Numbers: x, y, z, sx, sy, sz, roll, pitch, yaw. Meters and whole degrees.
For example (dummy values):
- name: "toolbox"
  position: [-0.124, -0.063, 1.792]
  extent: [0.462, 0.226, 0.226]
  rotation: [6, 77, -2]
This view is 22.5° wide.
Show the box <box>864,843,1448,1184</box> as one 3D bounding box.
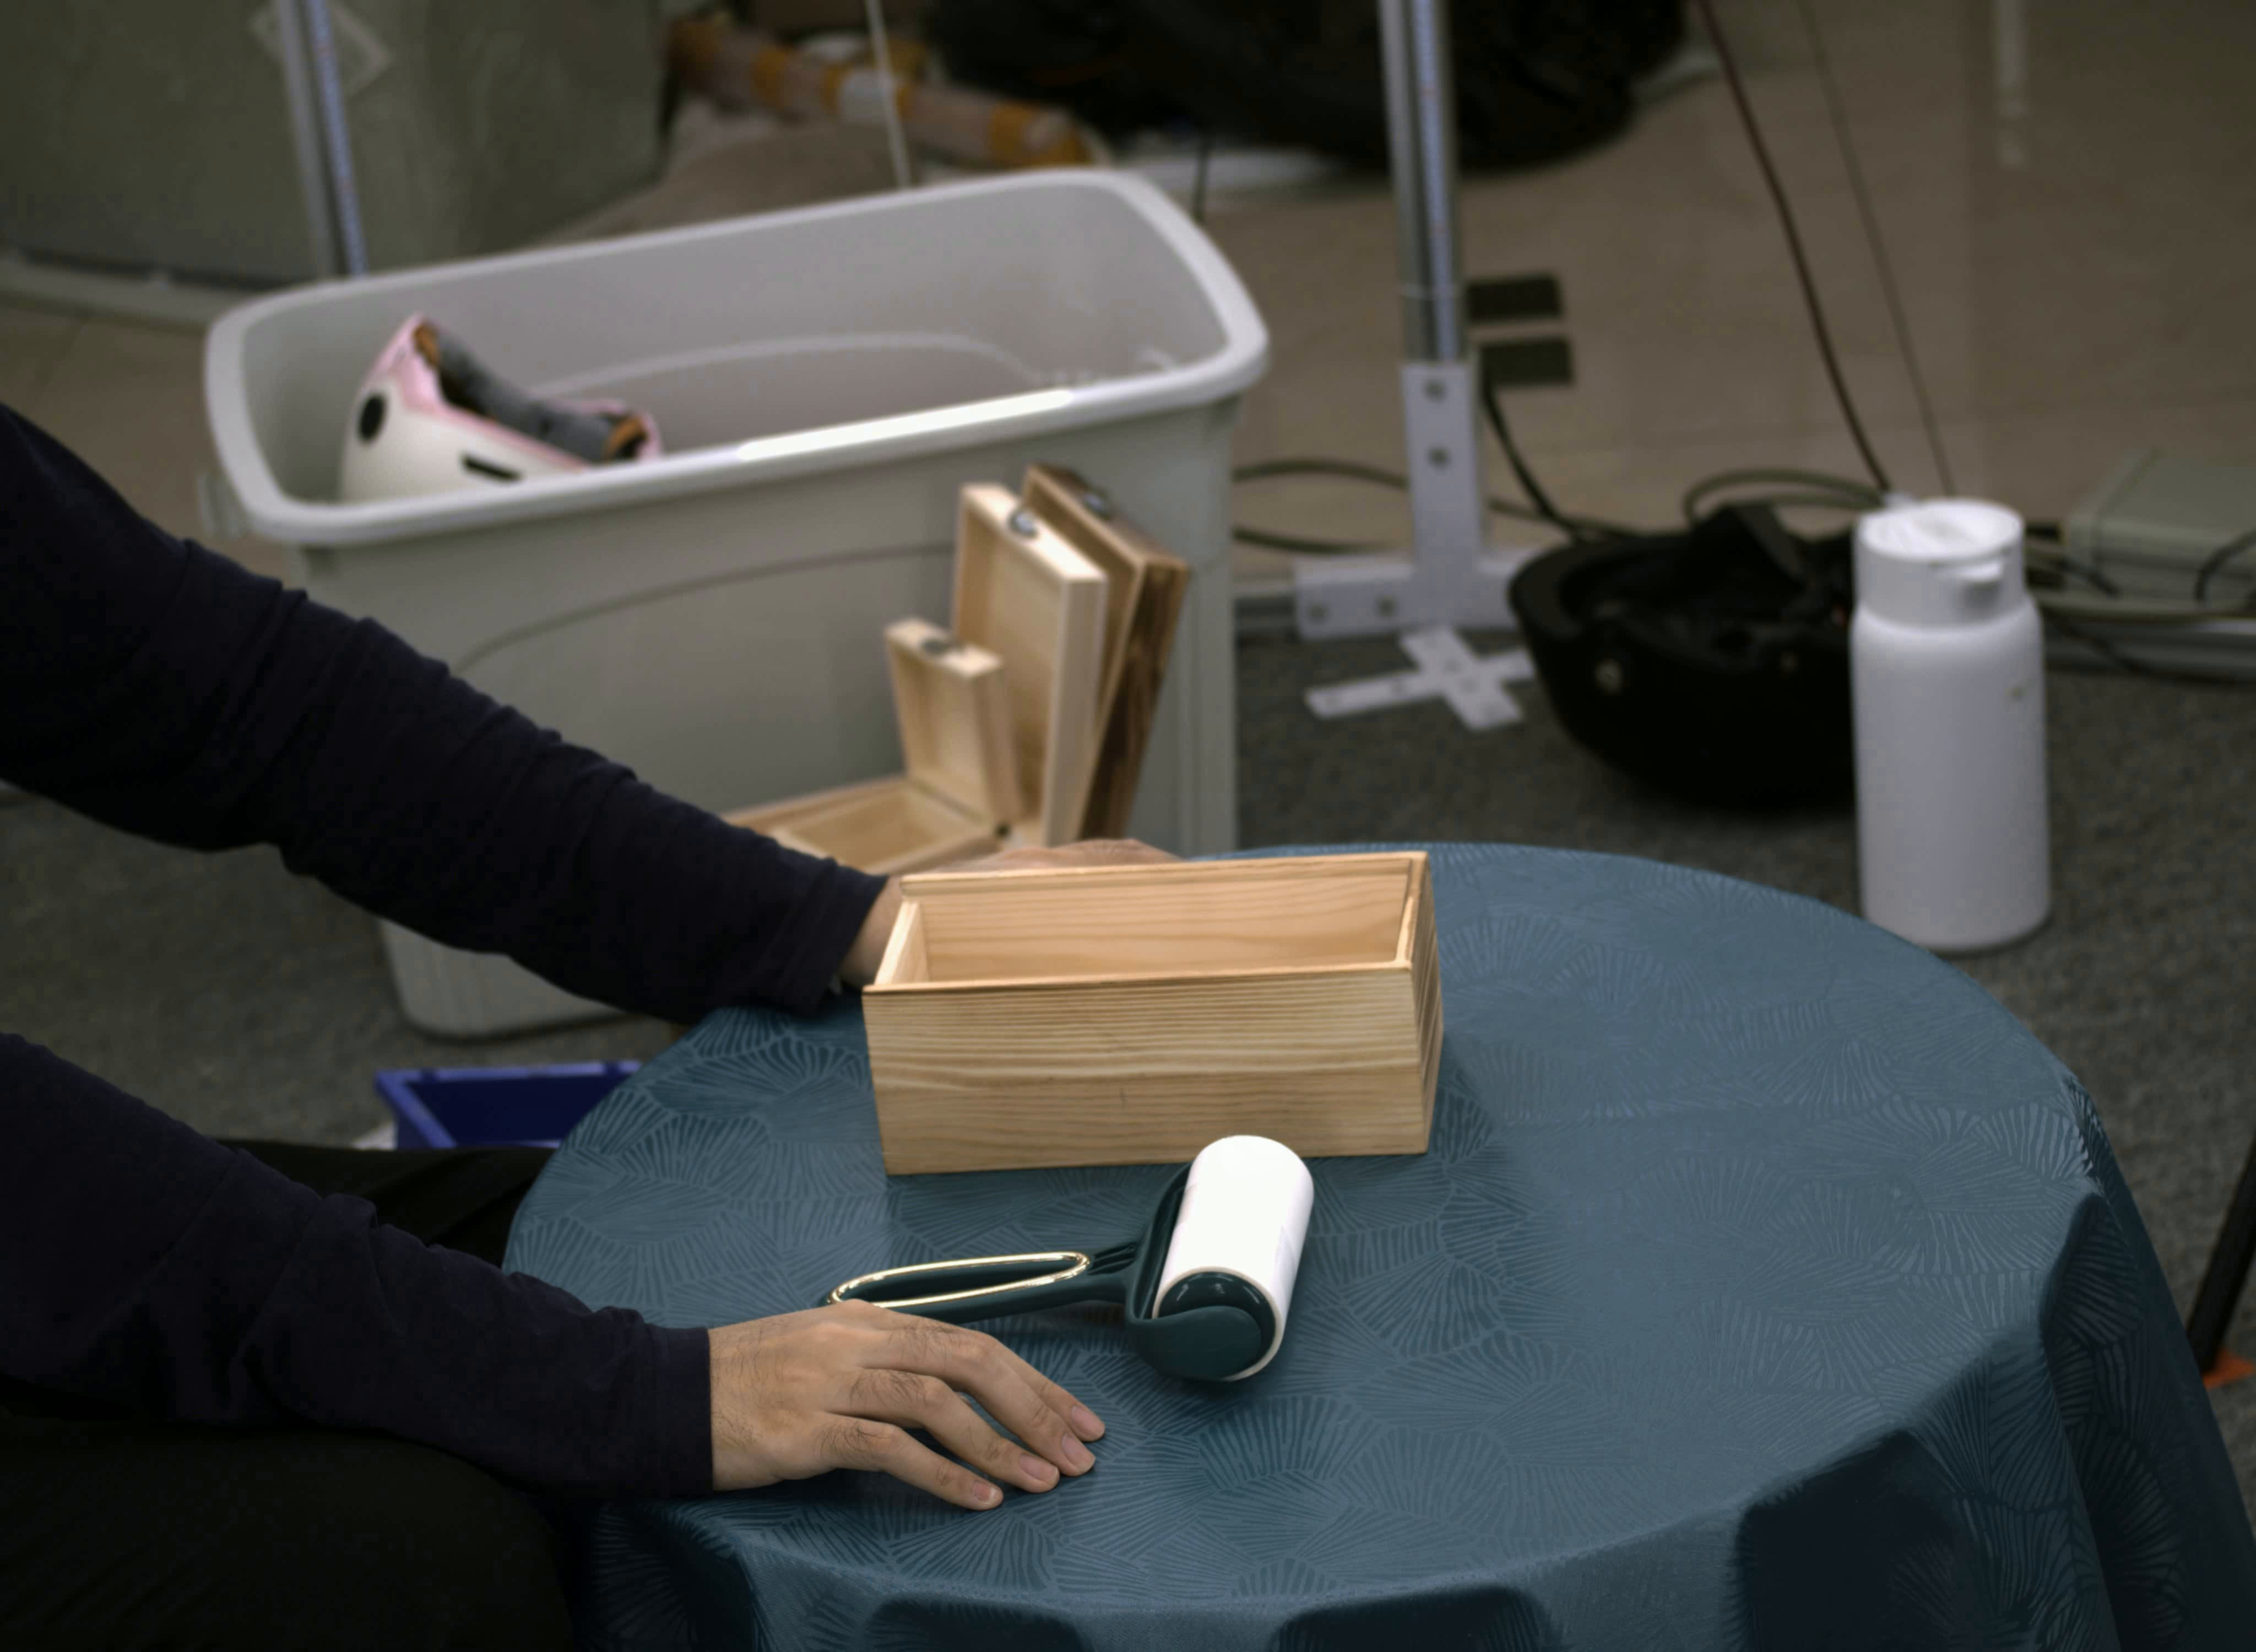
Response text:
- name: "box"
  position: [0.013, 0.072, 2.197]
  extent: [0.211, 0.081, 0.106]
  rotation: [-4, 26, 9]

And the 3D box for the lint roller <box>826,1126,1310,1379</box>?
- name: "lint roller"
  position: [-0.027, 0.162, 2.063]
  extent: [0.180, 0.049, 0.132]
  rotation: [-6, 25, 12]
